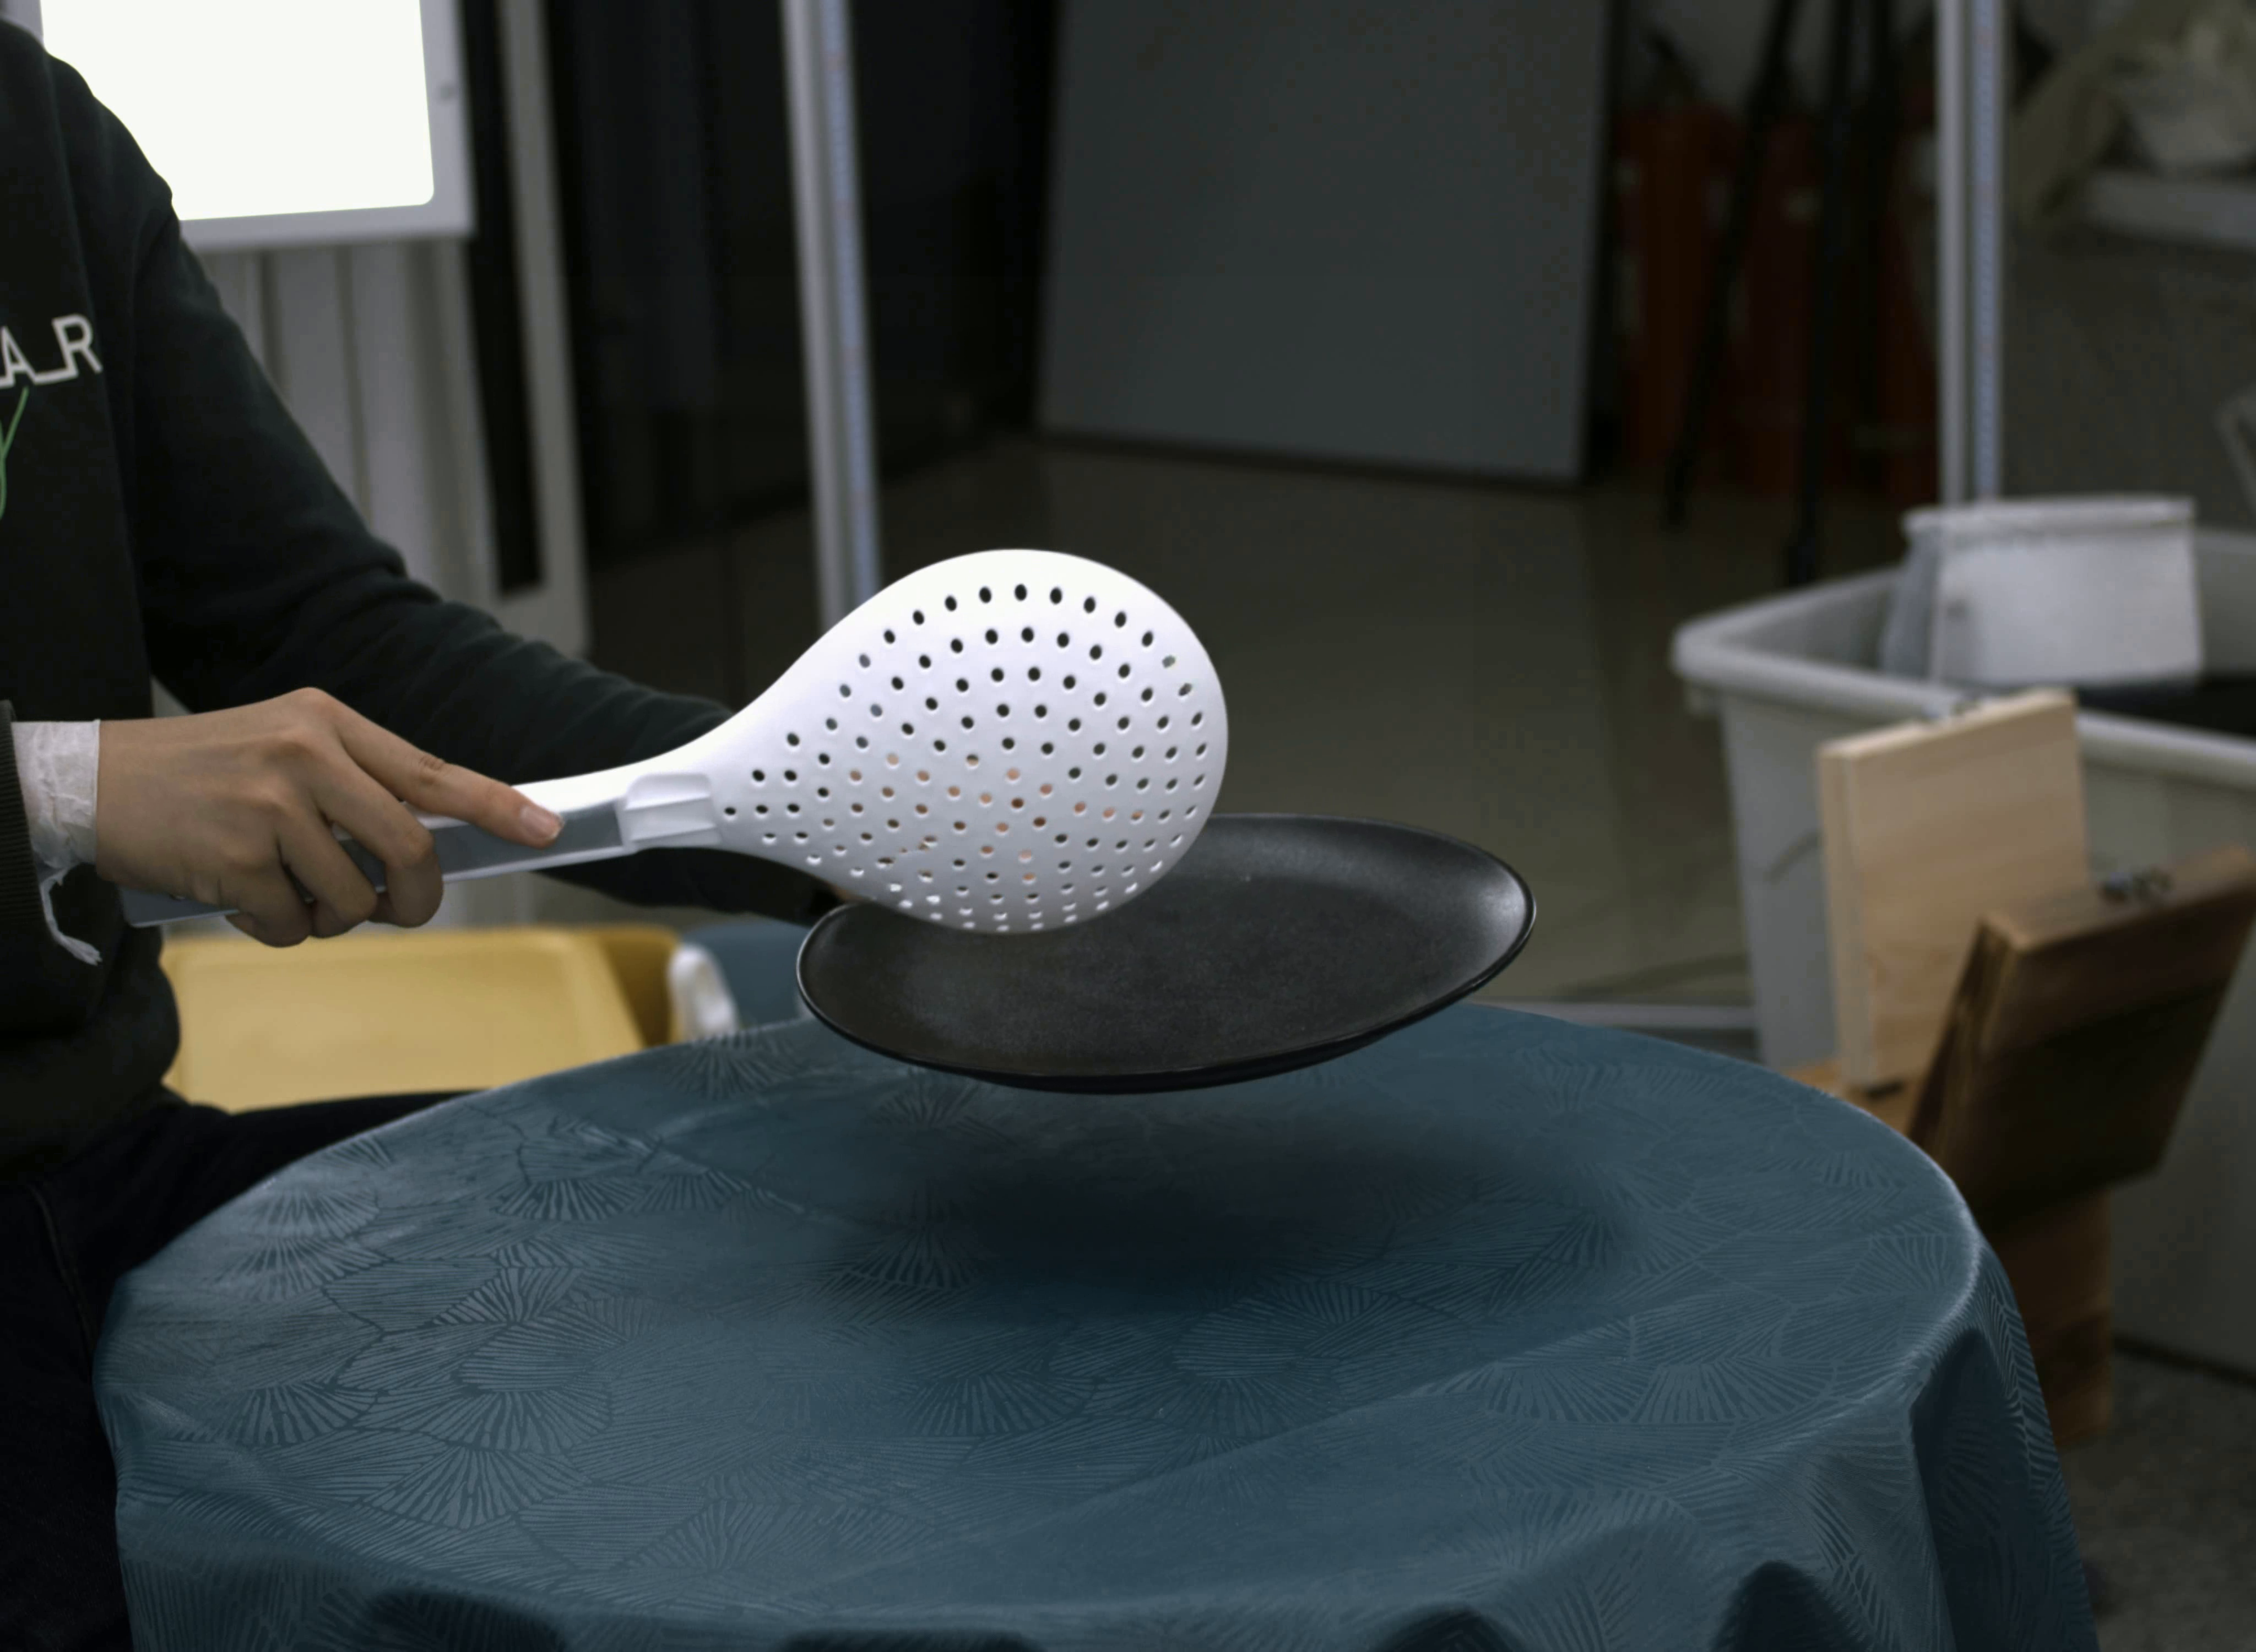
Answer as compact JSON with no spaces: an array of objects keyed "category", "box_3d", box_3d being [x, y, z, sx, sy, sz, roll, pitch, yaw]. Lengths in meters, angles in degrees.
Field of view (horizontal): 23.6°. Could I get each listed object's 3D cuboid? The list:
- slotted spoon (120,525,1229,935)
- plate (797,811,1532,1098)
[{"category":"slotted spoon","box_3d":[-0.140,-0.009,1.676,0.346,0.137,0.046,-7,27,6]},{"category":"plate","box_3d":[0.013,0.044,1.753,0.241,0.023,0.245,-6,18,1]}]
